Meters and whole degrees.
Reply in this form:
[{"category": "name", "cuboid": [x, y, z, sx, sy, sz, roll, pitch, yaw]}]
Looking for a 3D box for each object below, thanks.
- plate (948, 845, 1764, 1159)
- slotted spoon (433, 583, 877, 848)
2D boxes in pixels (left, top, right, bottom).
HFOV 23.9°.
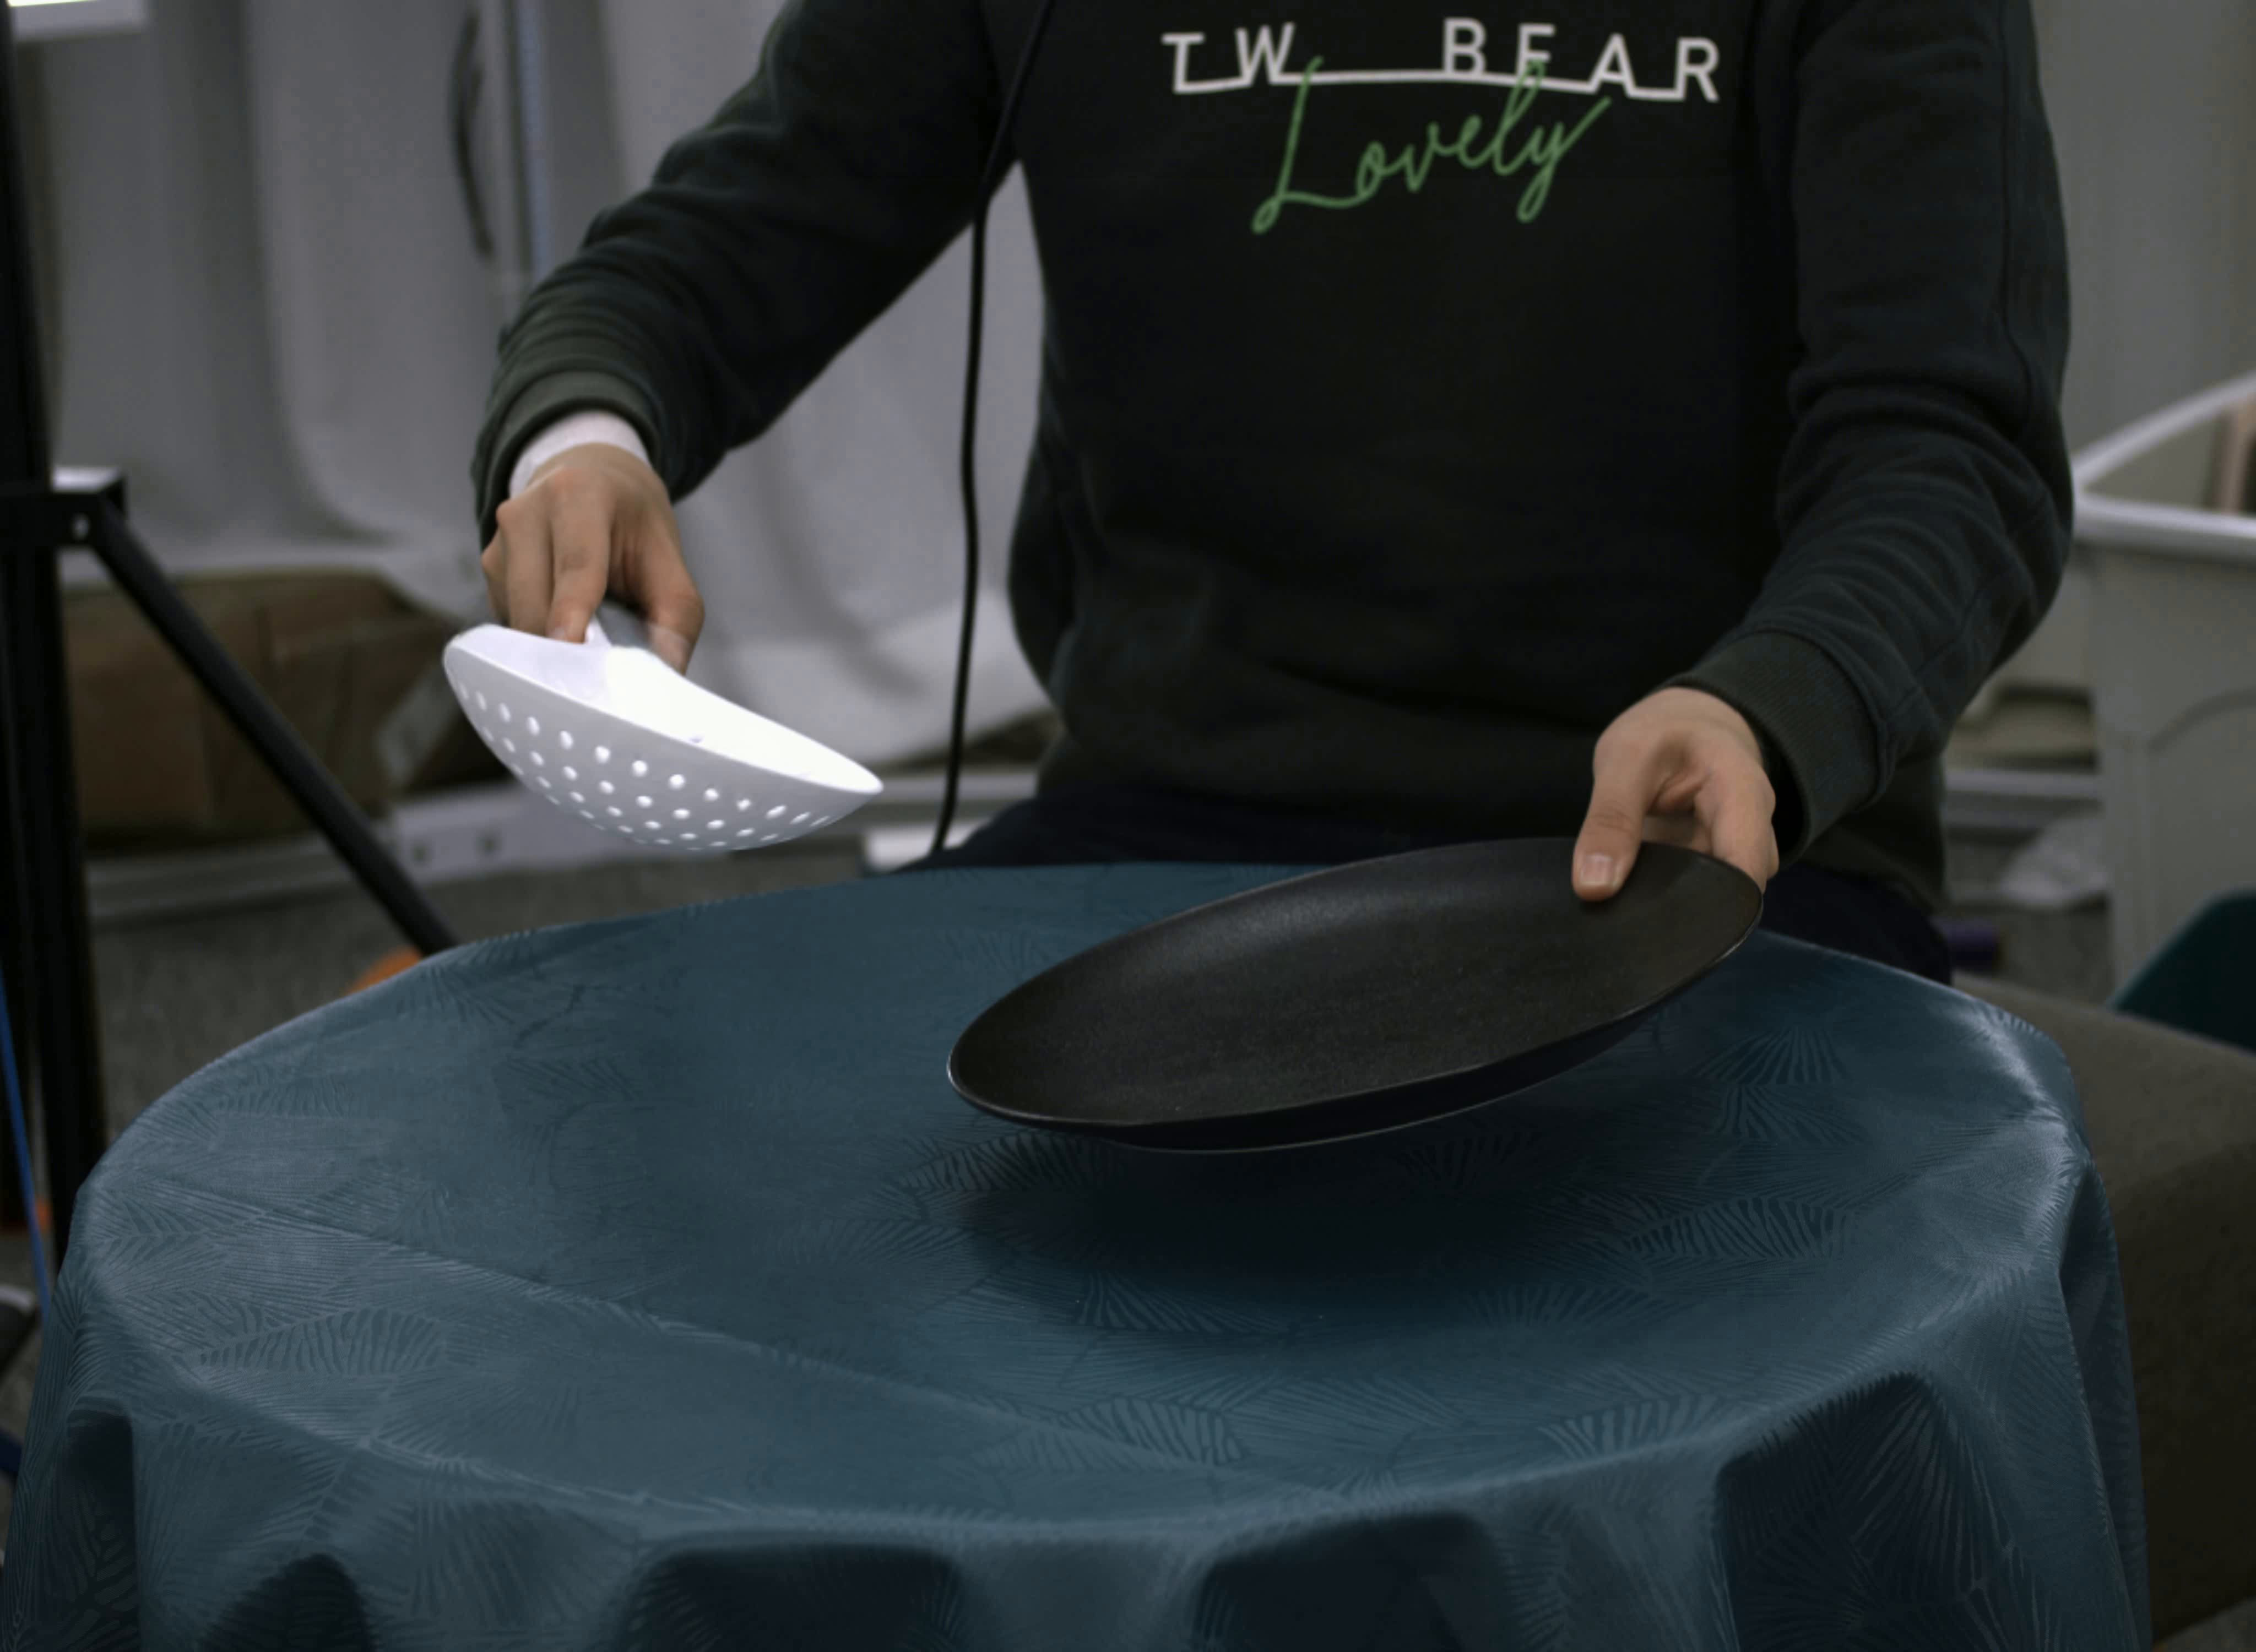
[{"category": "plate", "cuboid": [0.068, 0.054, 1.552, 0.243, 0.023, 0.245, -13, 14, 2]}, {"category": "slotted spoon", "cuboid": [-0.152, -0.046, 1.625, 0.134, 0.046, 0.352, 21, 10, -10]}]
